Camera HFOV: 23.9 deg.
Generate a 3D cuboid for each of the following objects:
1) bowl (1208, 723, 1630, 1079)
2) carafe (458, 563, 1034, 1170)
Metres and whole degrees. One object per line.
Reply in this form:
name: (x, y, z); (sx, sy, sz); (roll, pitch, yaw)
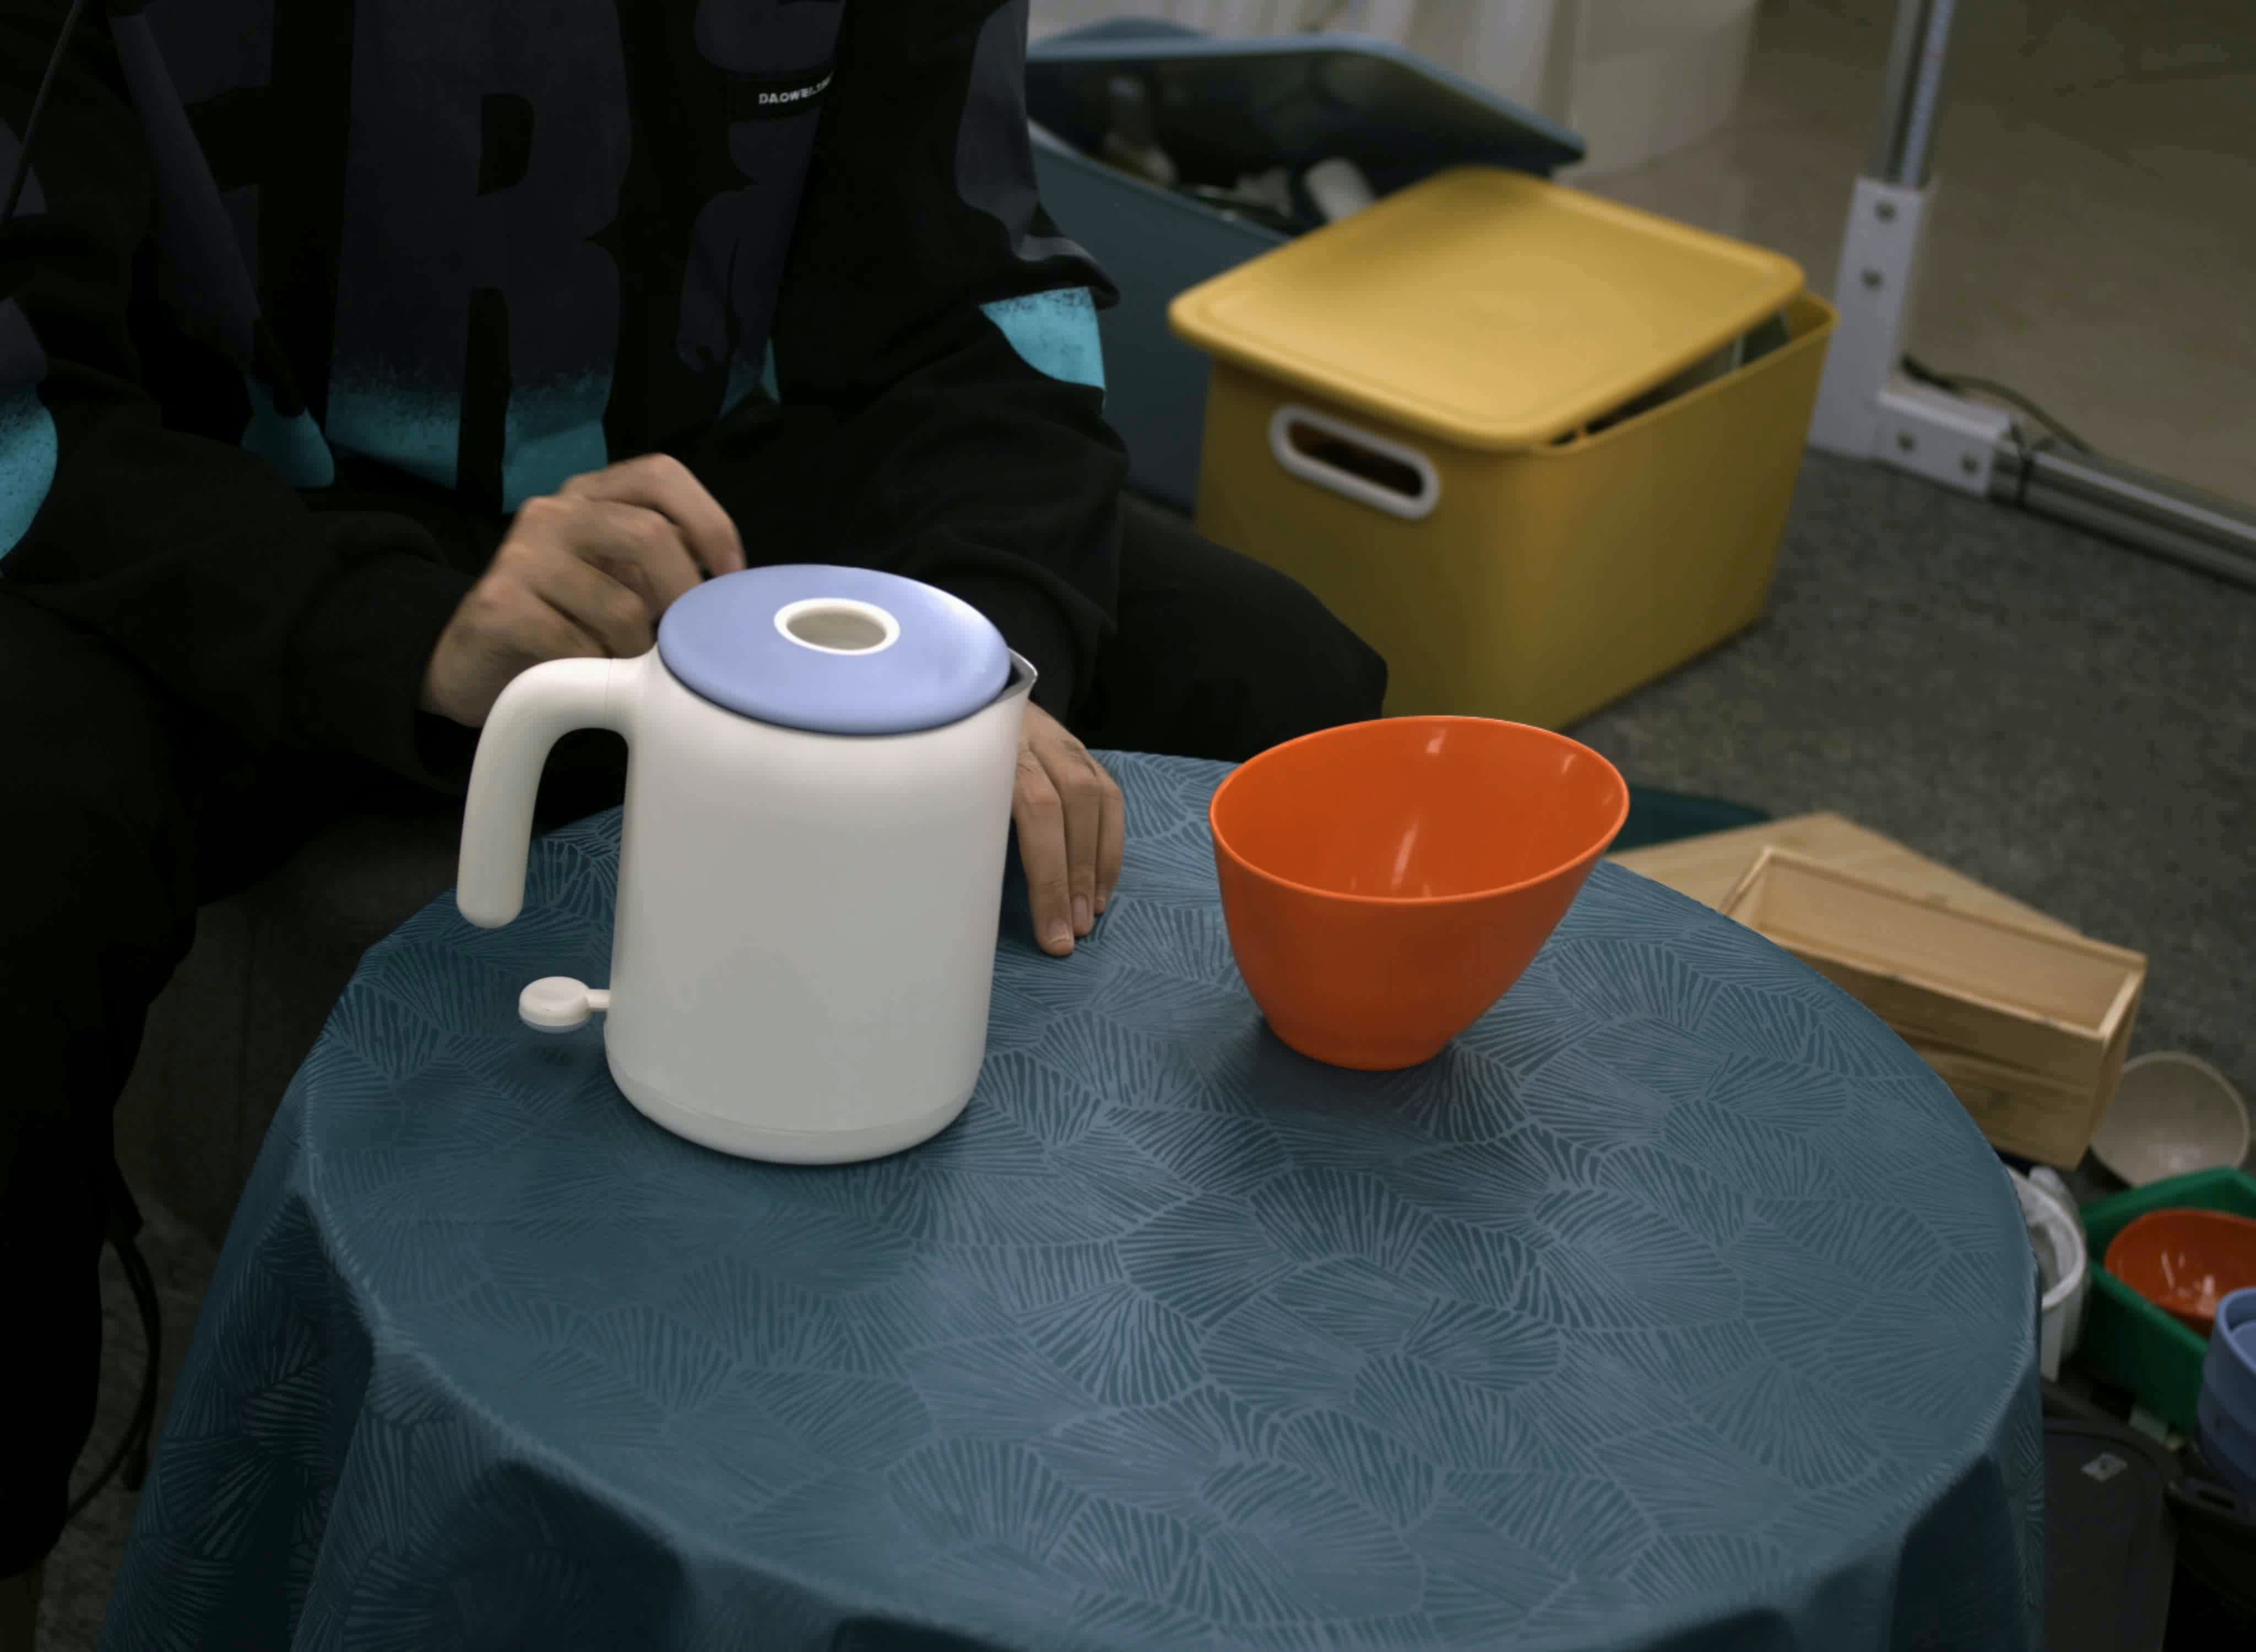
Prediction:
bowl: (0.098, 0.031, 1.892); (0.147, 0.104, 0.149); (5, 27, -3)
carafe: (-0.131, 0.012, 1.803); (0.190, 0.182, 0.133); (2, 25, -3)
